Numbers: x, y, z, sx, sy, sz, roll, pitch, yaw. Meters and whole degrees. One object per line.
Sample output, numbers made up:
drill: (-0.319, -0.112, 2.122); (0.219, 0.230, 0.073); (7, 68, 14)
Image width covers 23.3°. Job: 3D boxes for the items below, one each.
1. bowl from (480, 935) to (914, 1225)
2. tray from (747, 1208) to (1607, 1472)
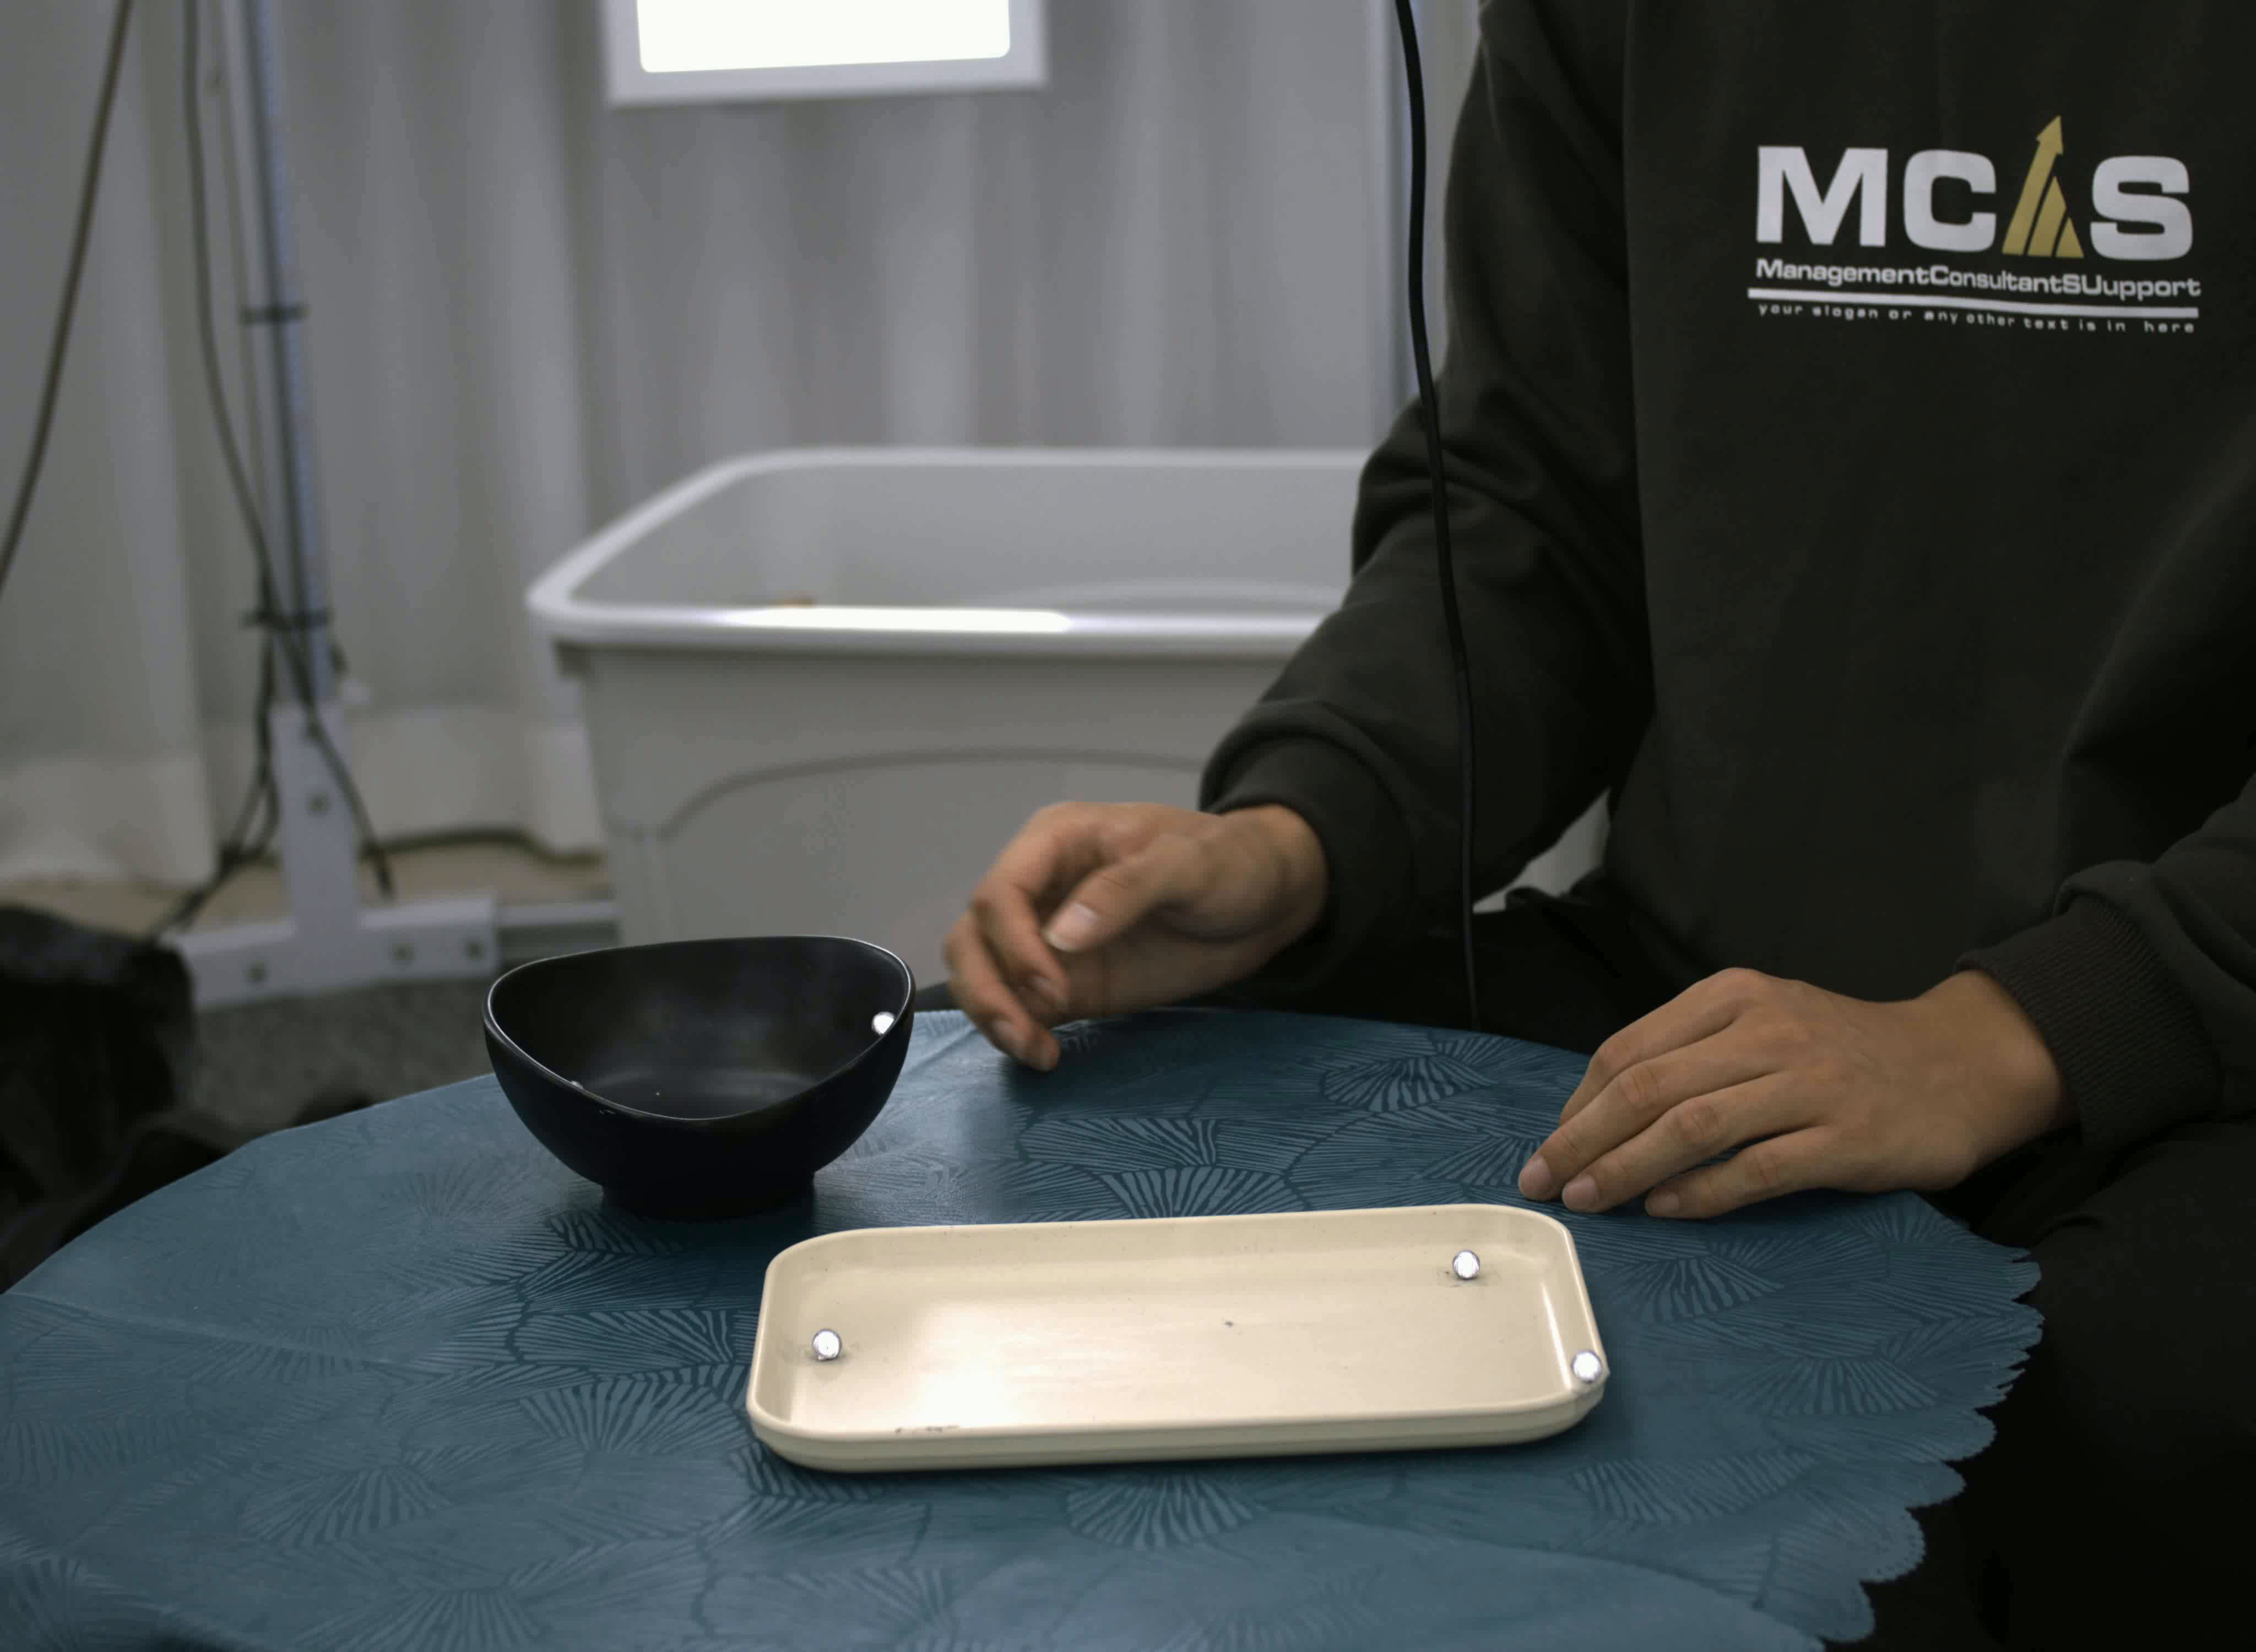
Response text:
bowl: (-0.134, 0.085, 1.735); (0.137, 0.066, 0.172); (-6, 17, -7)
tray: (0.013, 0.147, 1.561); (0.239, 0.017, 0.172); (-2, 14, 0)
